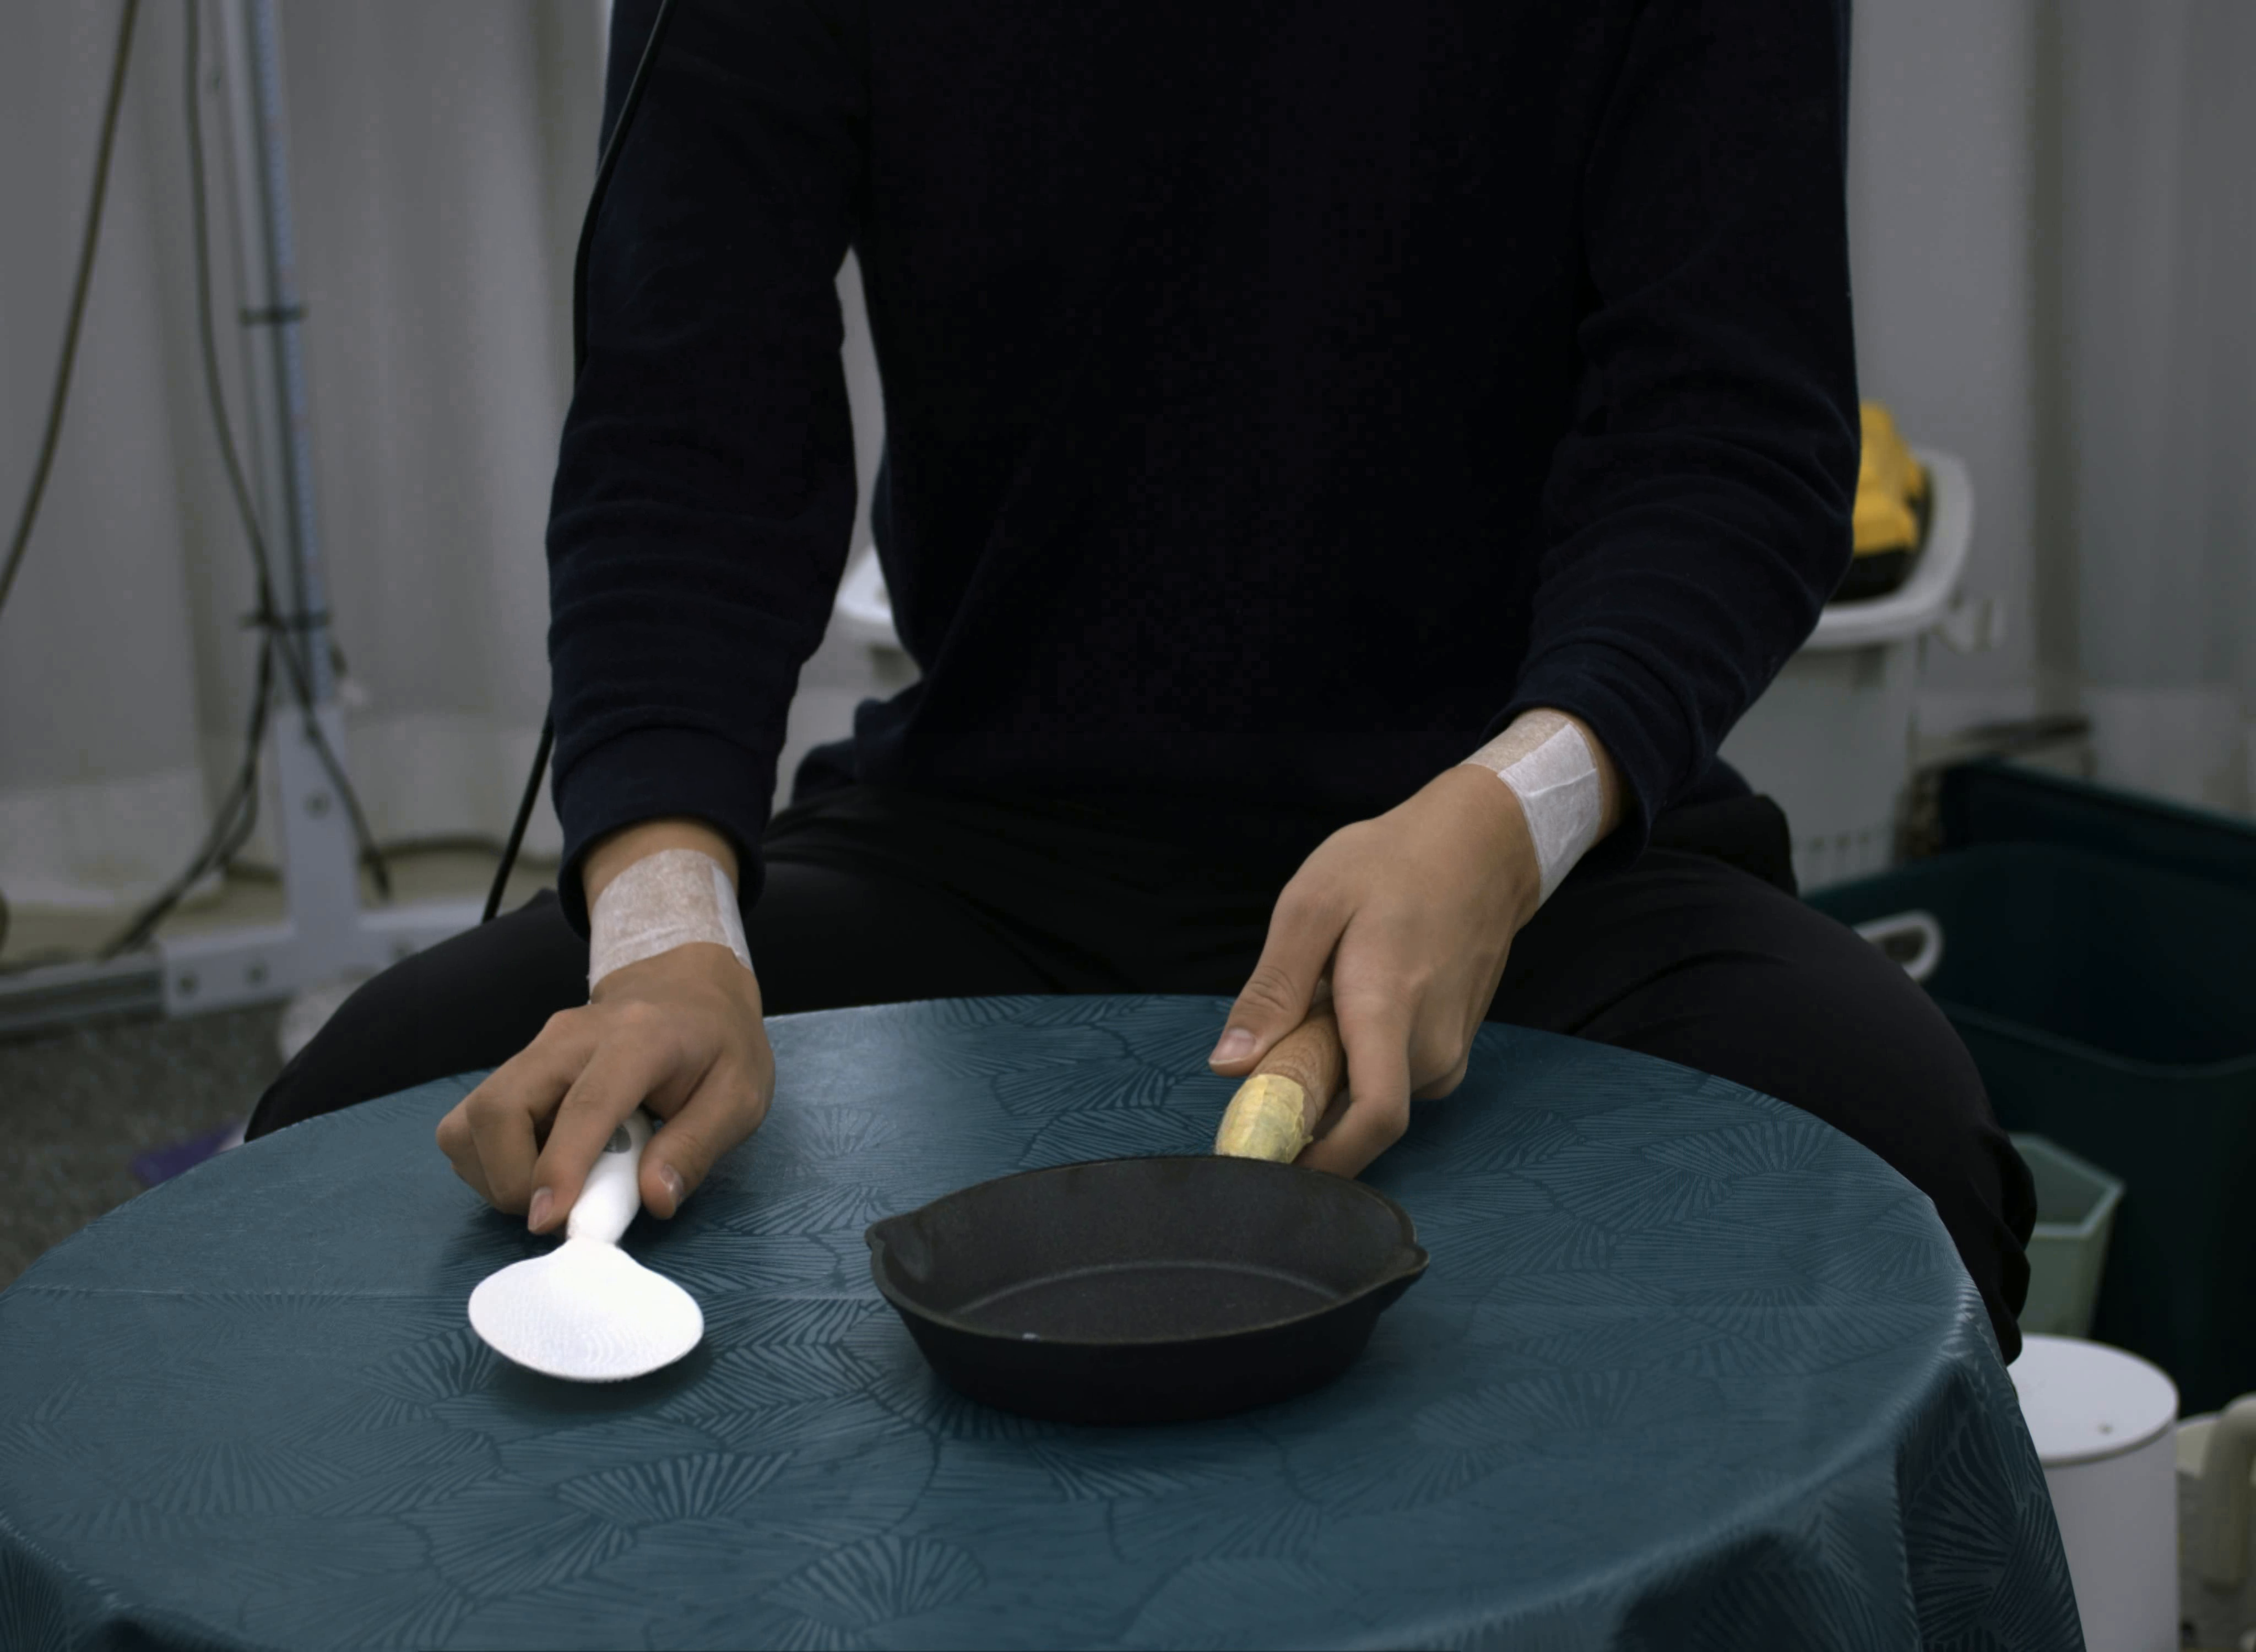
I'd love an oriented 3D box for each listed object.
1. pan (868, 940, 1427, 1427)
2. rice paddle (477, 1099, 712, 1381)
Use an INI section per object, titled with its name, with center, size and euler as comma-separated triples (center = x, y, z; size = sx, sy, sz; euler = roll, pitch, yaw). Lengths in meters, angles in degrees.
[pan]
center = 0.034, 0.104, 1.648
size = 0.169, 0.049, 0.325
euler = 2, 18, 21
[rice paddle]
center = -0.159, 0.127, 1.645
size = 0.068, 0.029, 0.207
euler = 4, 14, -5
